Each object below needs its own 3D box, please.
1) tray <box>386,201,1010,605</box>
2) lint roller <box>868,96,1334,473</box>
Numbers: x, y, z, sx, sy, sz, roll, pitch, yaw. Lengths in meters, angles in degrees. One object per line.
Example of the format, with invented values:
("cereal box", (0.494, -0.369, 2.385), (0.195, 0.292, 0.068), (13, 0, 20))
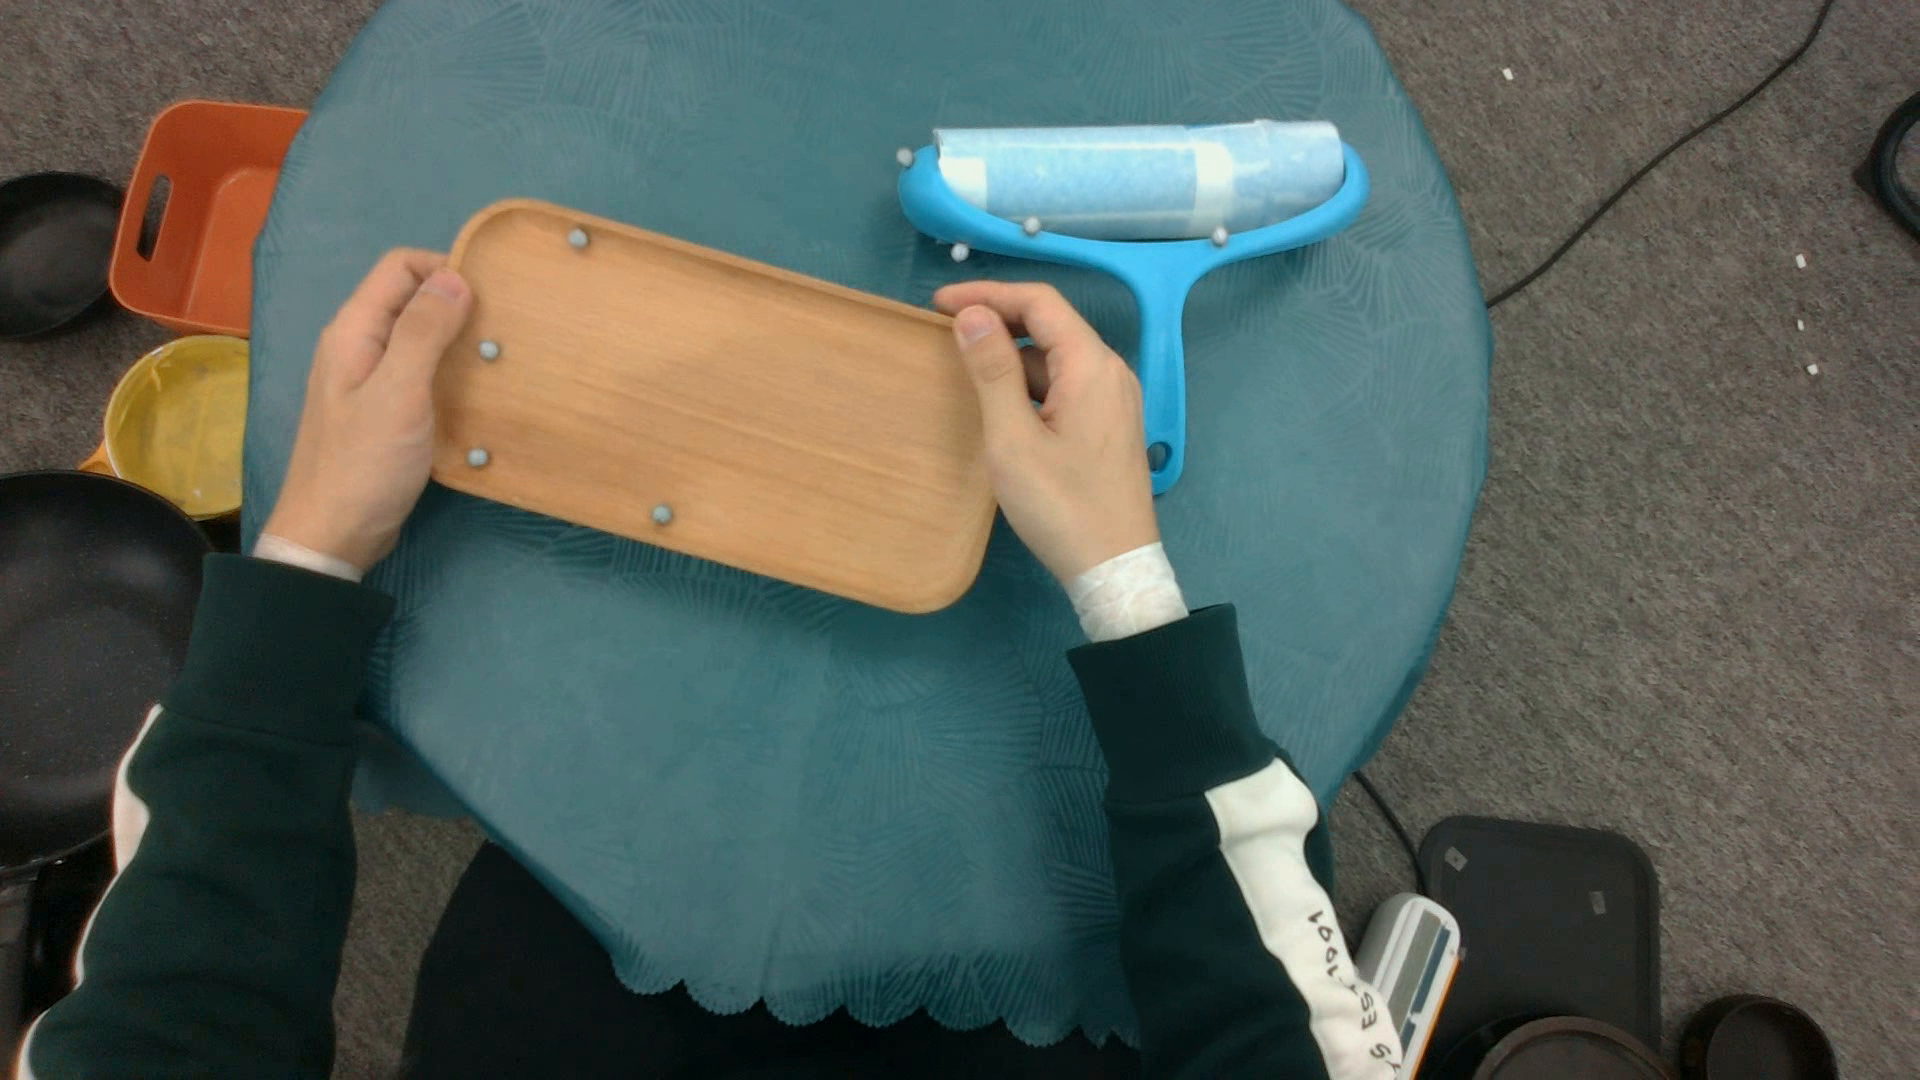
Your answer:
("tray", (-0.109, -0.058, 0.583), (0.251, 0.023, 0.130), (14, 90, -1))
("lint roller", (0.079, -0.127, 0.658), (0.229, 0.068, 0.180), (-7, 77, -10))
